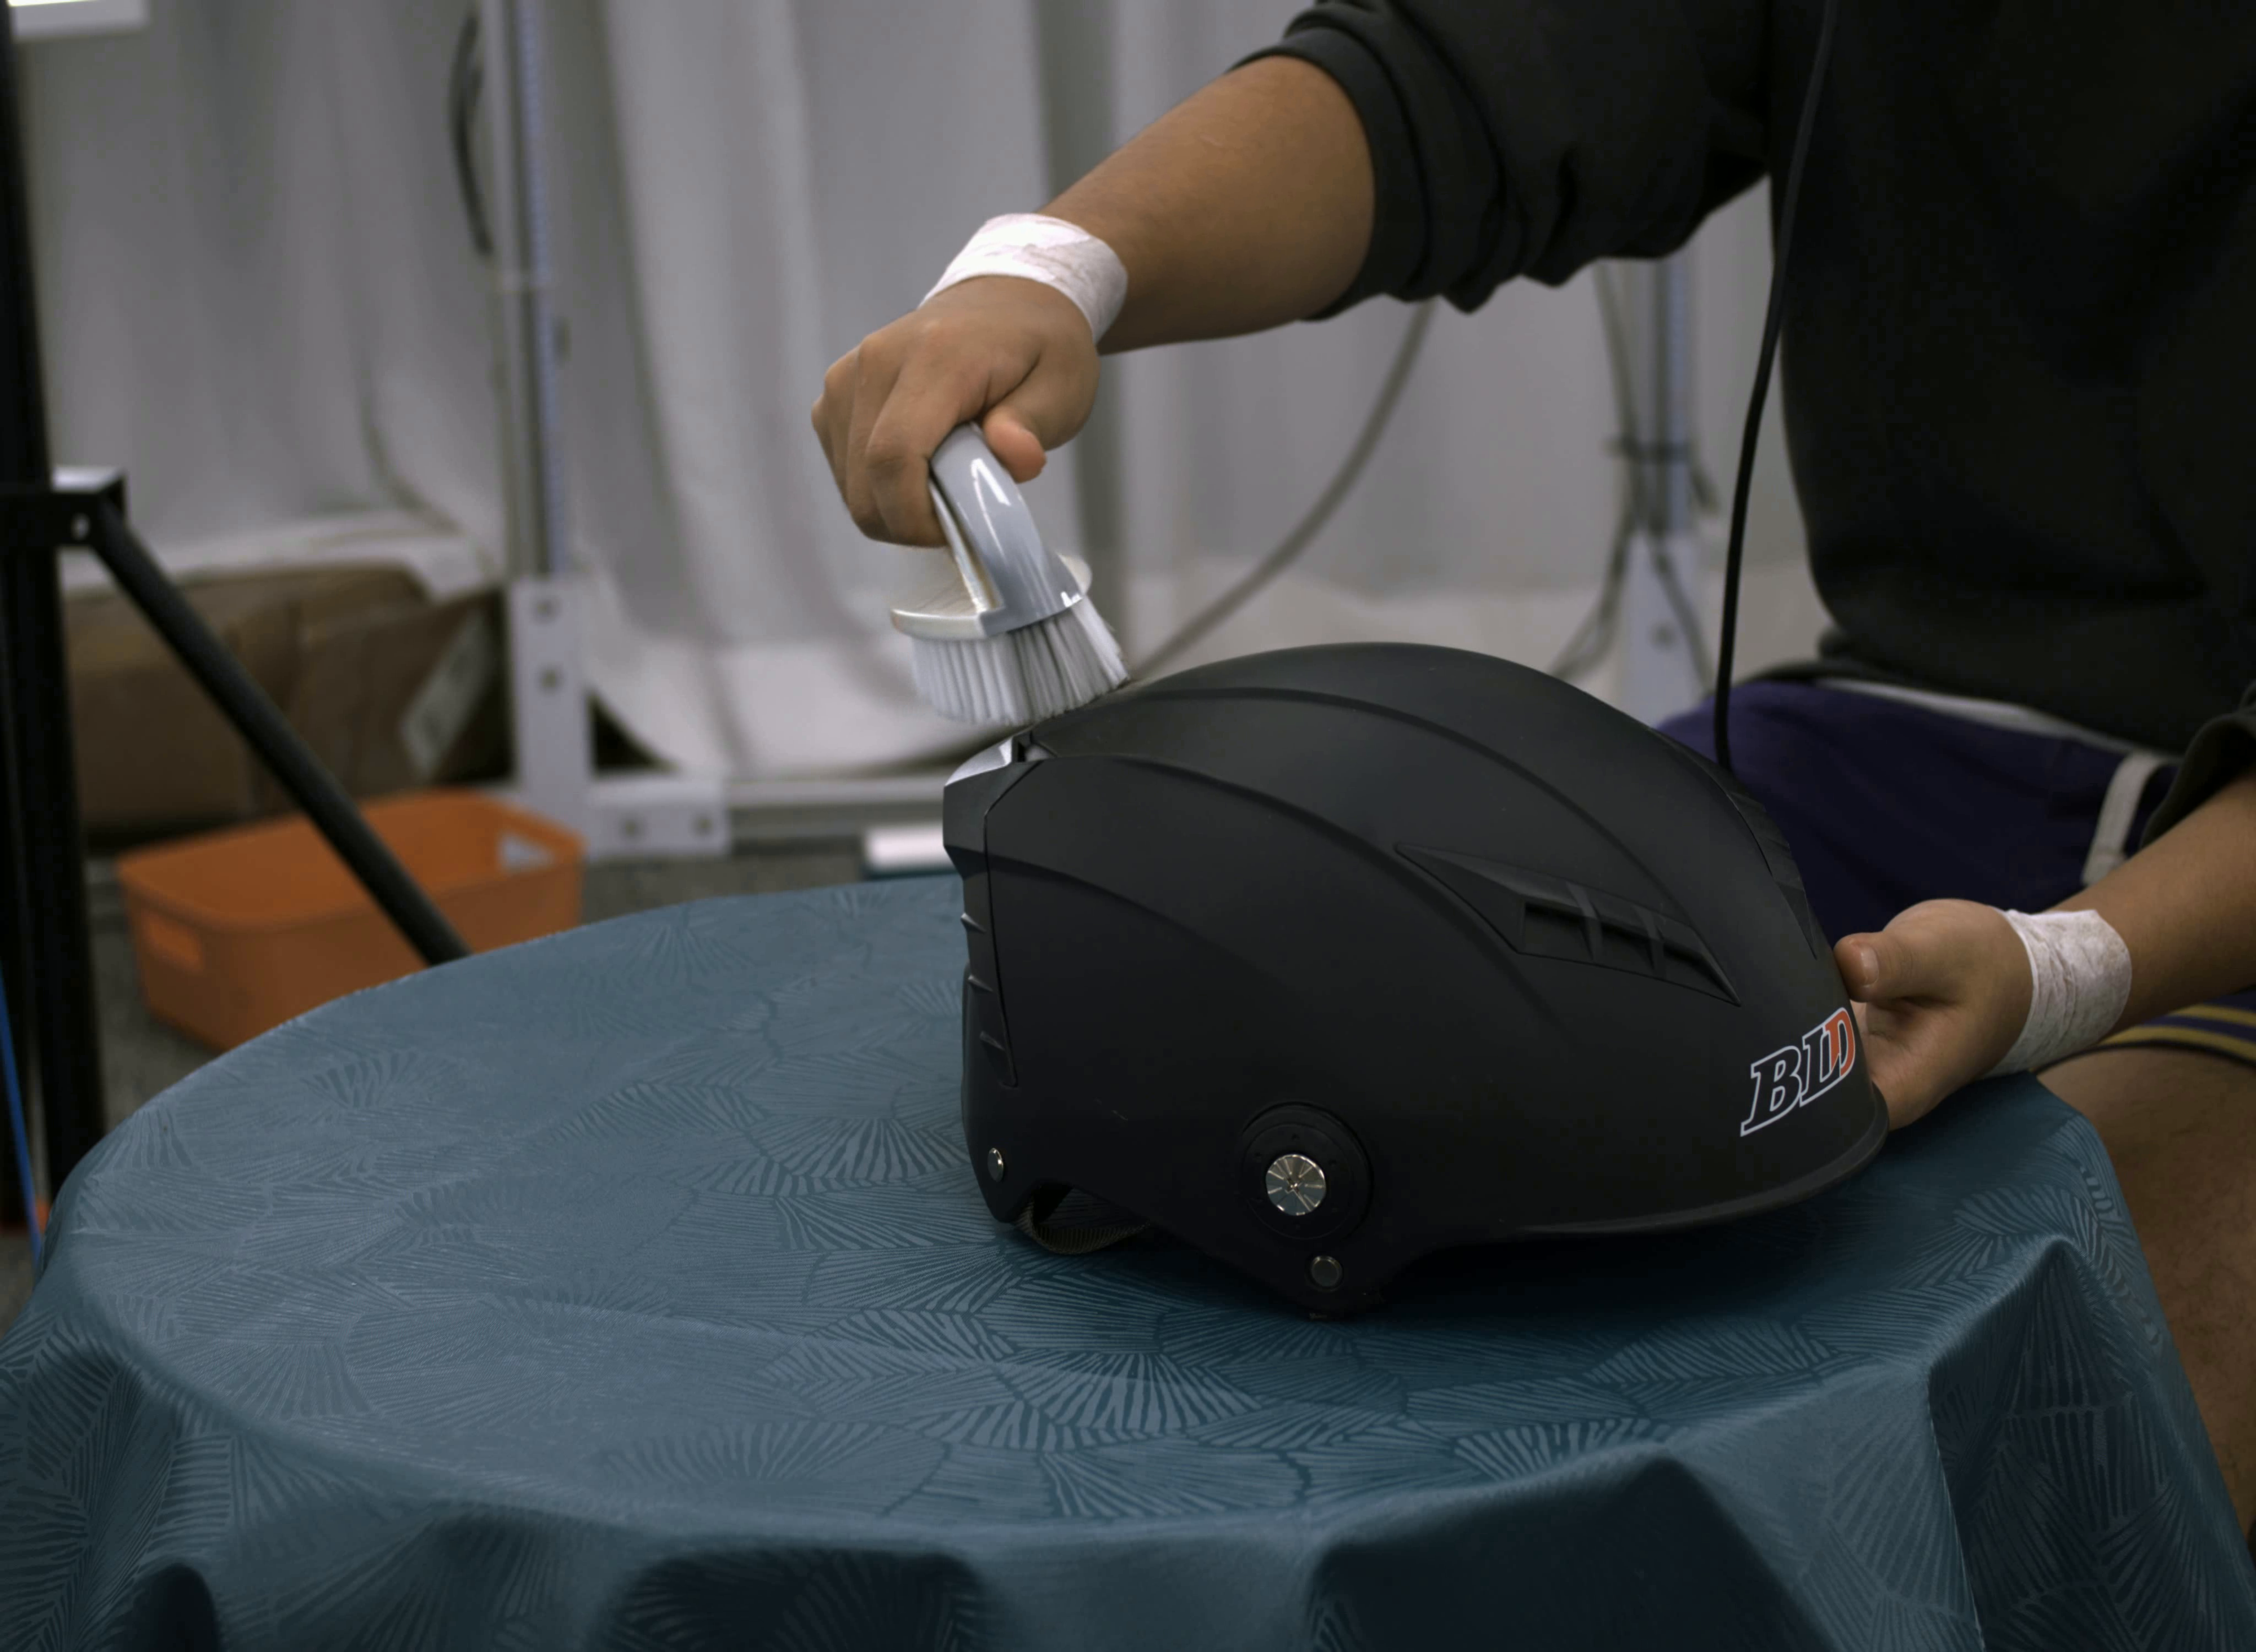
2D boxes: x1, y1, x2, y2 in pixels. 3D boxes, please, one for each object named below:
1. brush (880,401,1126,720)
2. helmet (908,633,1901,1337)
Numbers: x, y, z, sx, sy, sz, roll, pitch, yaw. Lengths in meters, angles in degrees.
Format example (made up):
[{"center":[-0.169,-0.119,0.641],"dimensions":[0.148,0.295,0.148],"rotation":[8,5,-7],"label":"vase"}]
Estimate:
[{"center":[-0.042,-0.085,1.647],"dimensions":[0.061,0.094,0.177],"rotation":[-24,12,-6],"label":"brush"},{"center":[0.076,0.032,1.527],"dimensions":[0.282,0.172,0.242],"rotation":[3,17,36],"label":"helmet"}]
